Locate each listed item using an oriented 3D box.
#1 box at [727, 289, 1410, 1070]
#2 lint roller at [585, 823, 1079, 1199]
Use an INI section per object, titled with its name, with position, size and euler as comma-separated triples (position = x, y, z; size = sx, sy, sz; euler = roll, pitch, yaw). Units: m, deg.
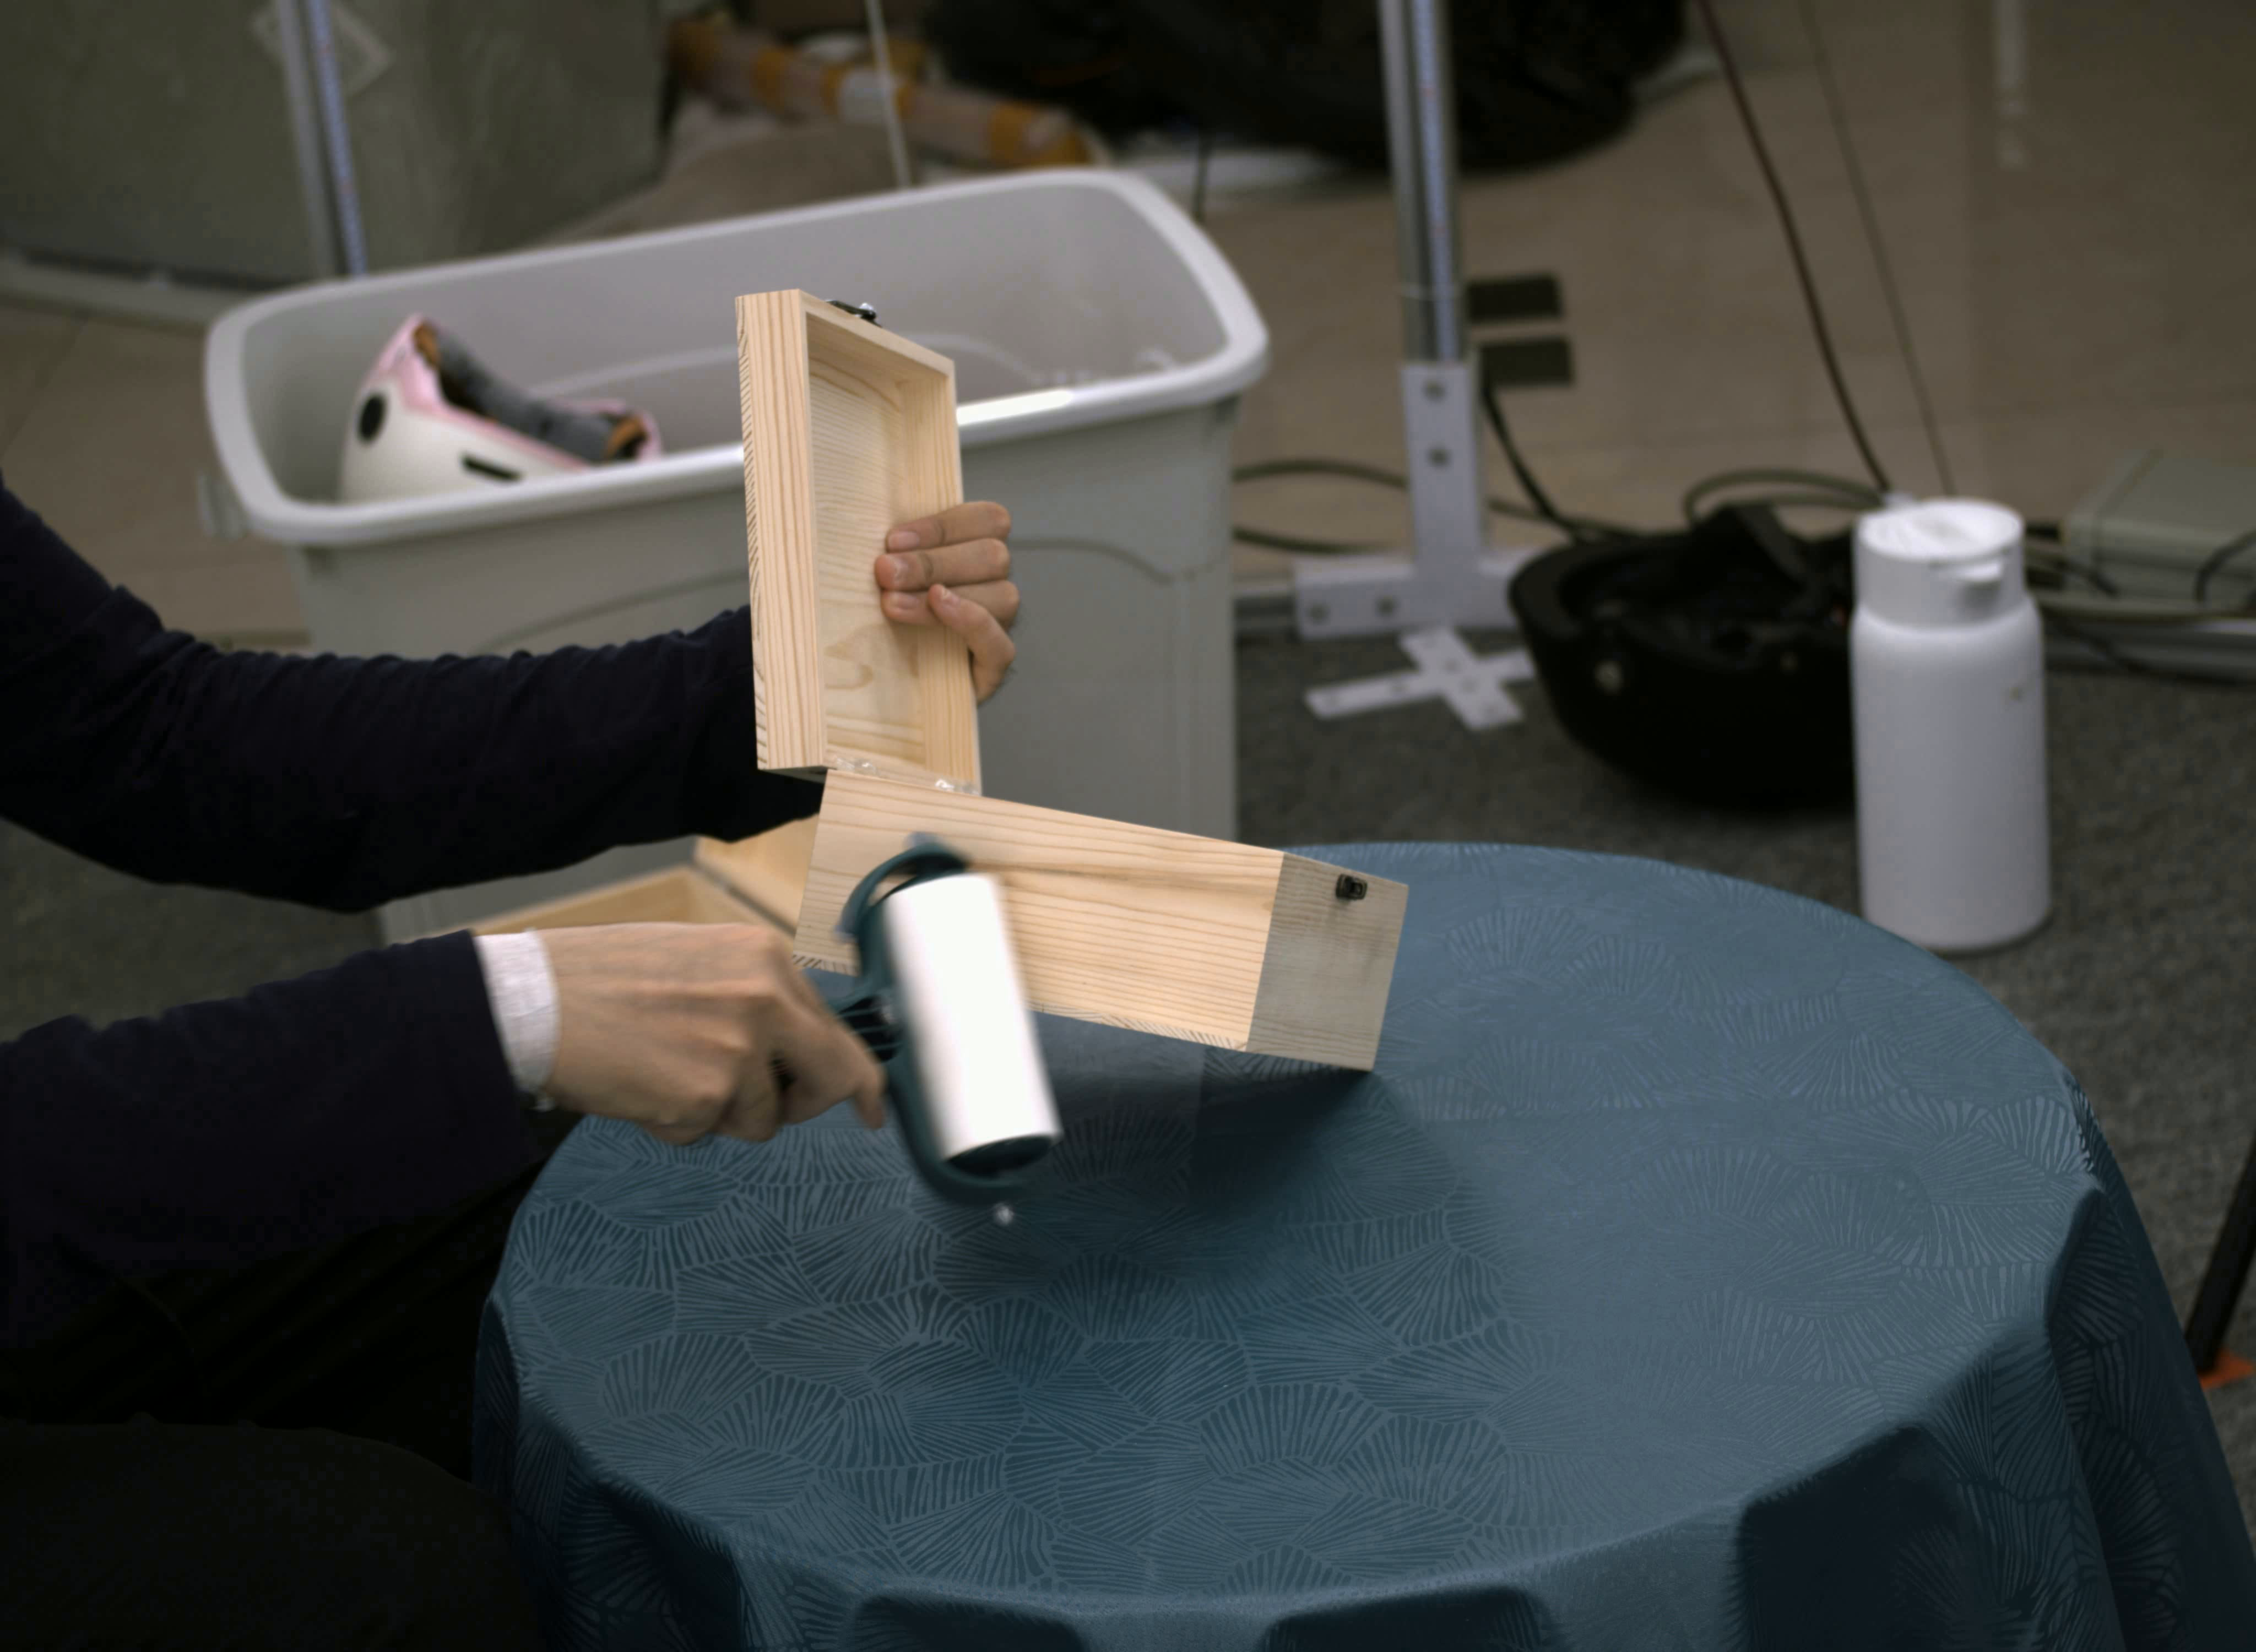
[box]
position = -0.023, -0.055, 2.171
size = 0.264, 0.254, 0.182
euler = 11, 2, 17
[lint roller]
position = -0.106, 0.073, 2.014
size = 0.179, 0.133, 0.048
euler = -6, -13, -36
